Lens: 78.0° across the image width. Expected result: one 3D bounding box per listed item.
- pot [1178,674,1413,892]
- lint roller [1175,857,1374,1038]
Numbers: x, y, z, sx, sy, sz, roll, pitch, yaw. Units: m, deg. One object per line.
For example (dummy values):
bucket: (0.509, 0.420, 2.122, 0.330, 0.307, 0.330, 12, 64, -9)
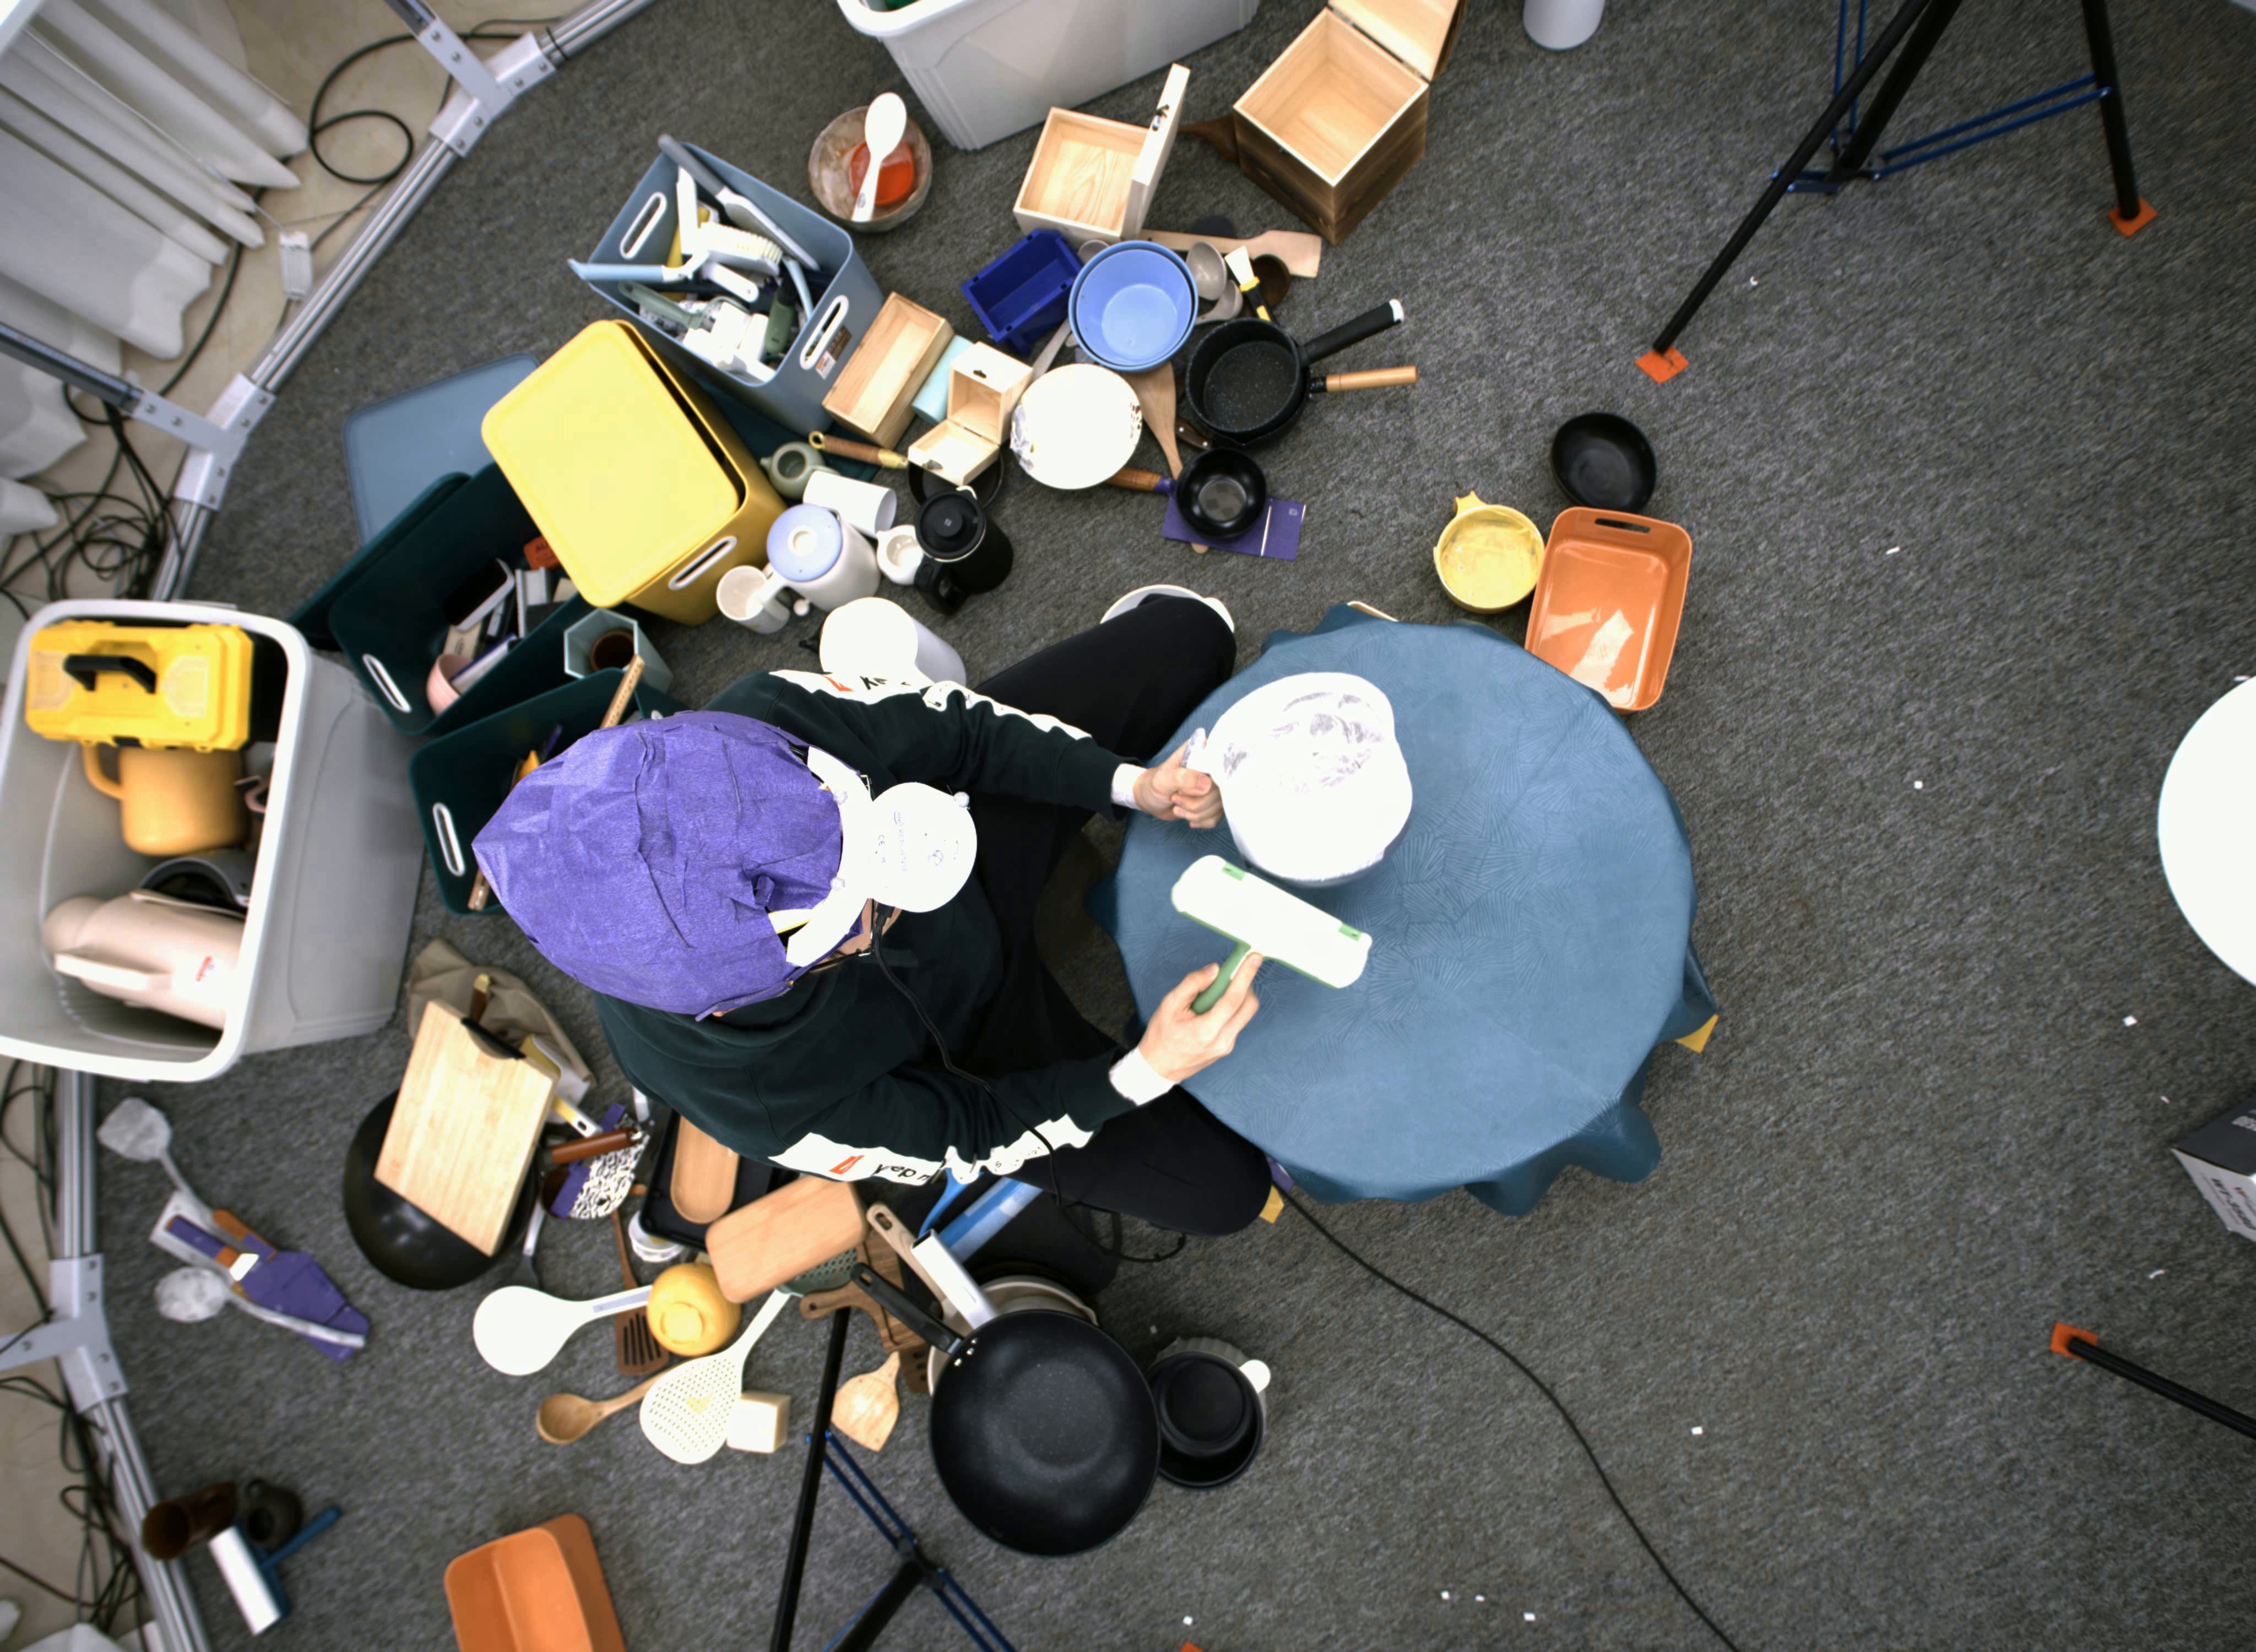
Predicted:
pot: (0.150, -0.039, 1.314, 0.235, 0.139, 0.174, 5, 50, 28)
lint roller: (0.111, 0.141, 1.315, 0.199, 0.081, 0.185, 27, 105, -22)
